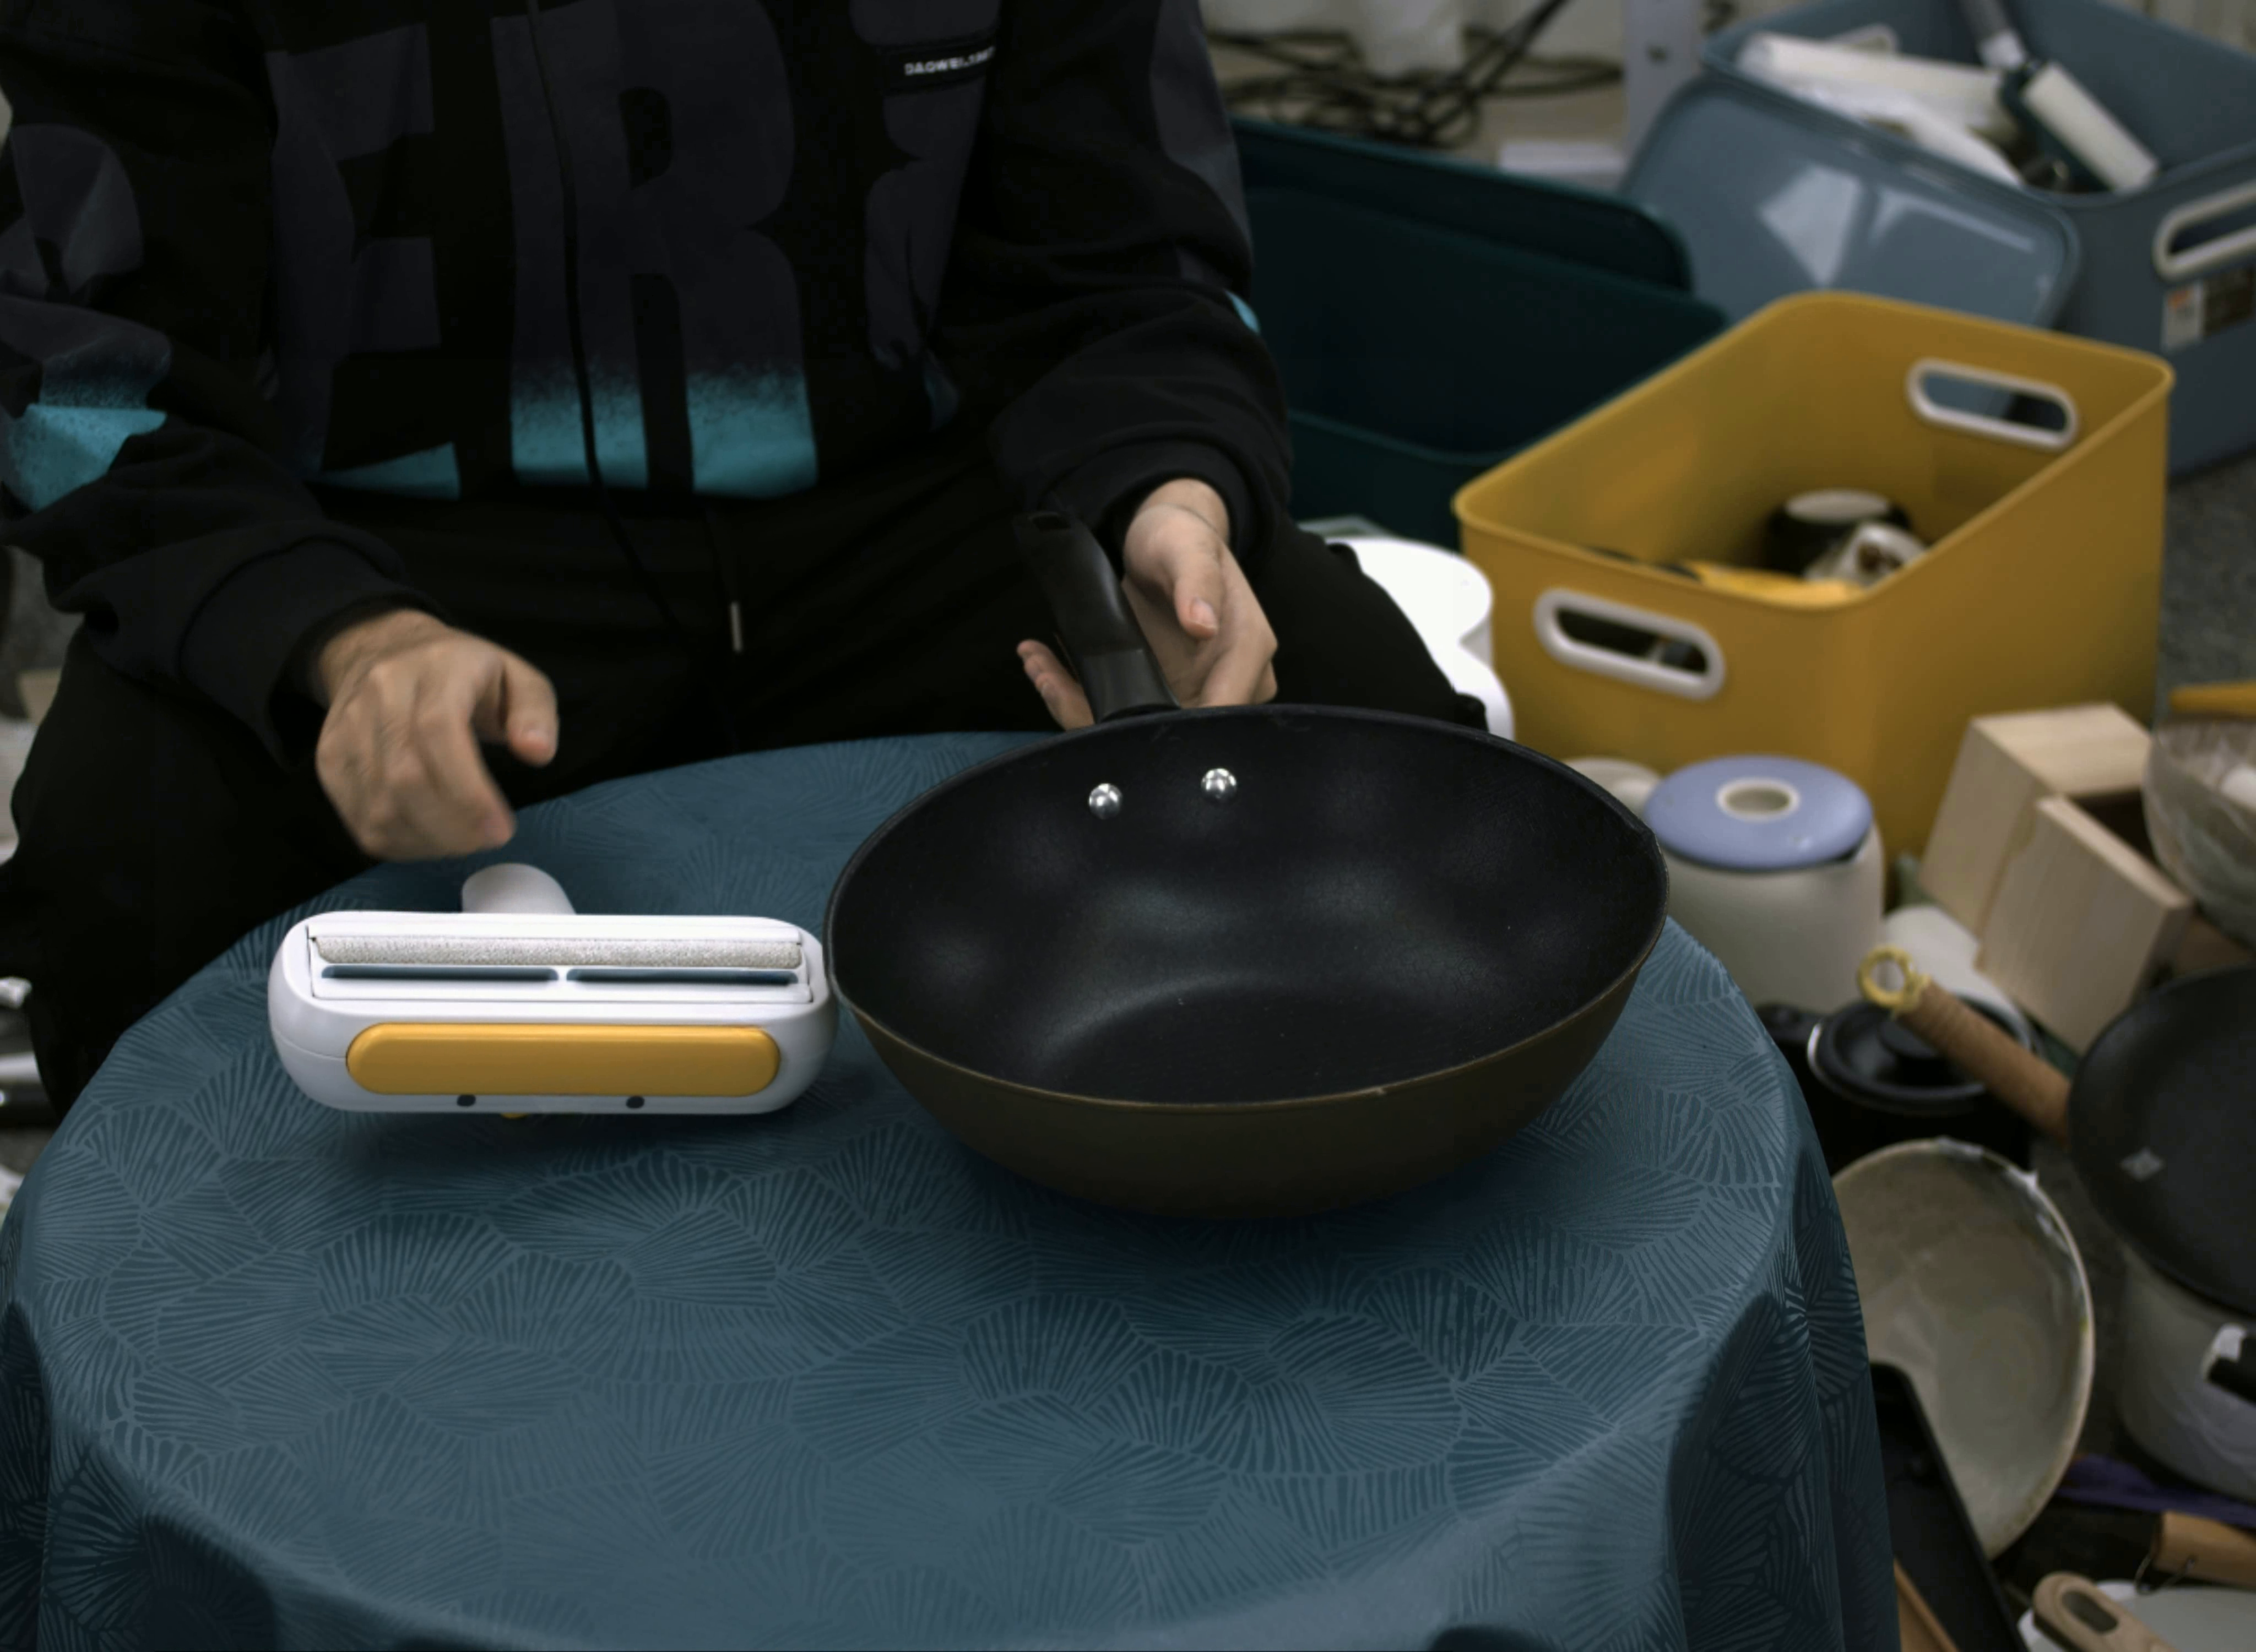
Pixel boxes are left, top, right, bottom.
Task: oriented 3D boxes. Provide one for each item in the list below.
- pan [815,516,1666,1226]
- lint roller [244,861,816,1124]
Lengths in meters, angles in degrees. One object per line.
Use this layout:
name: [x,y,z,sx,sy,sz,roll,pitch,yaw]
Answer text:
pan: [0.019,0.017,1.970,0.288,0.086,0.468,-8,28,-10]
lint roller: [-0.209,0.046,1.955,0.192,0.073,0.195,-1,25,-8]
